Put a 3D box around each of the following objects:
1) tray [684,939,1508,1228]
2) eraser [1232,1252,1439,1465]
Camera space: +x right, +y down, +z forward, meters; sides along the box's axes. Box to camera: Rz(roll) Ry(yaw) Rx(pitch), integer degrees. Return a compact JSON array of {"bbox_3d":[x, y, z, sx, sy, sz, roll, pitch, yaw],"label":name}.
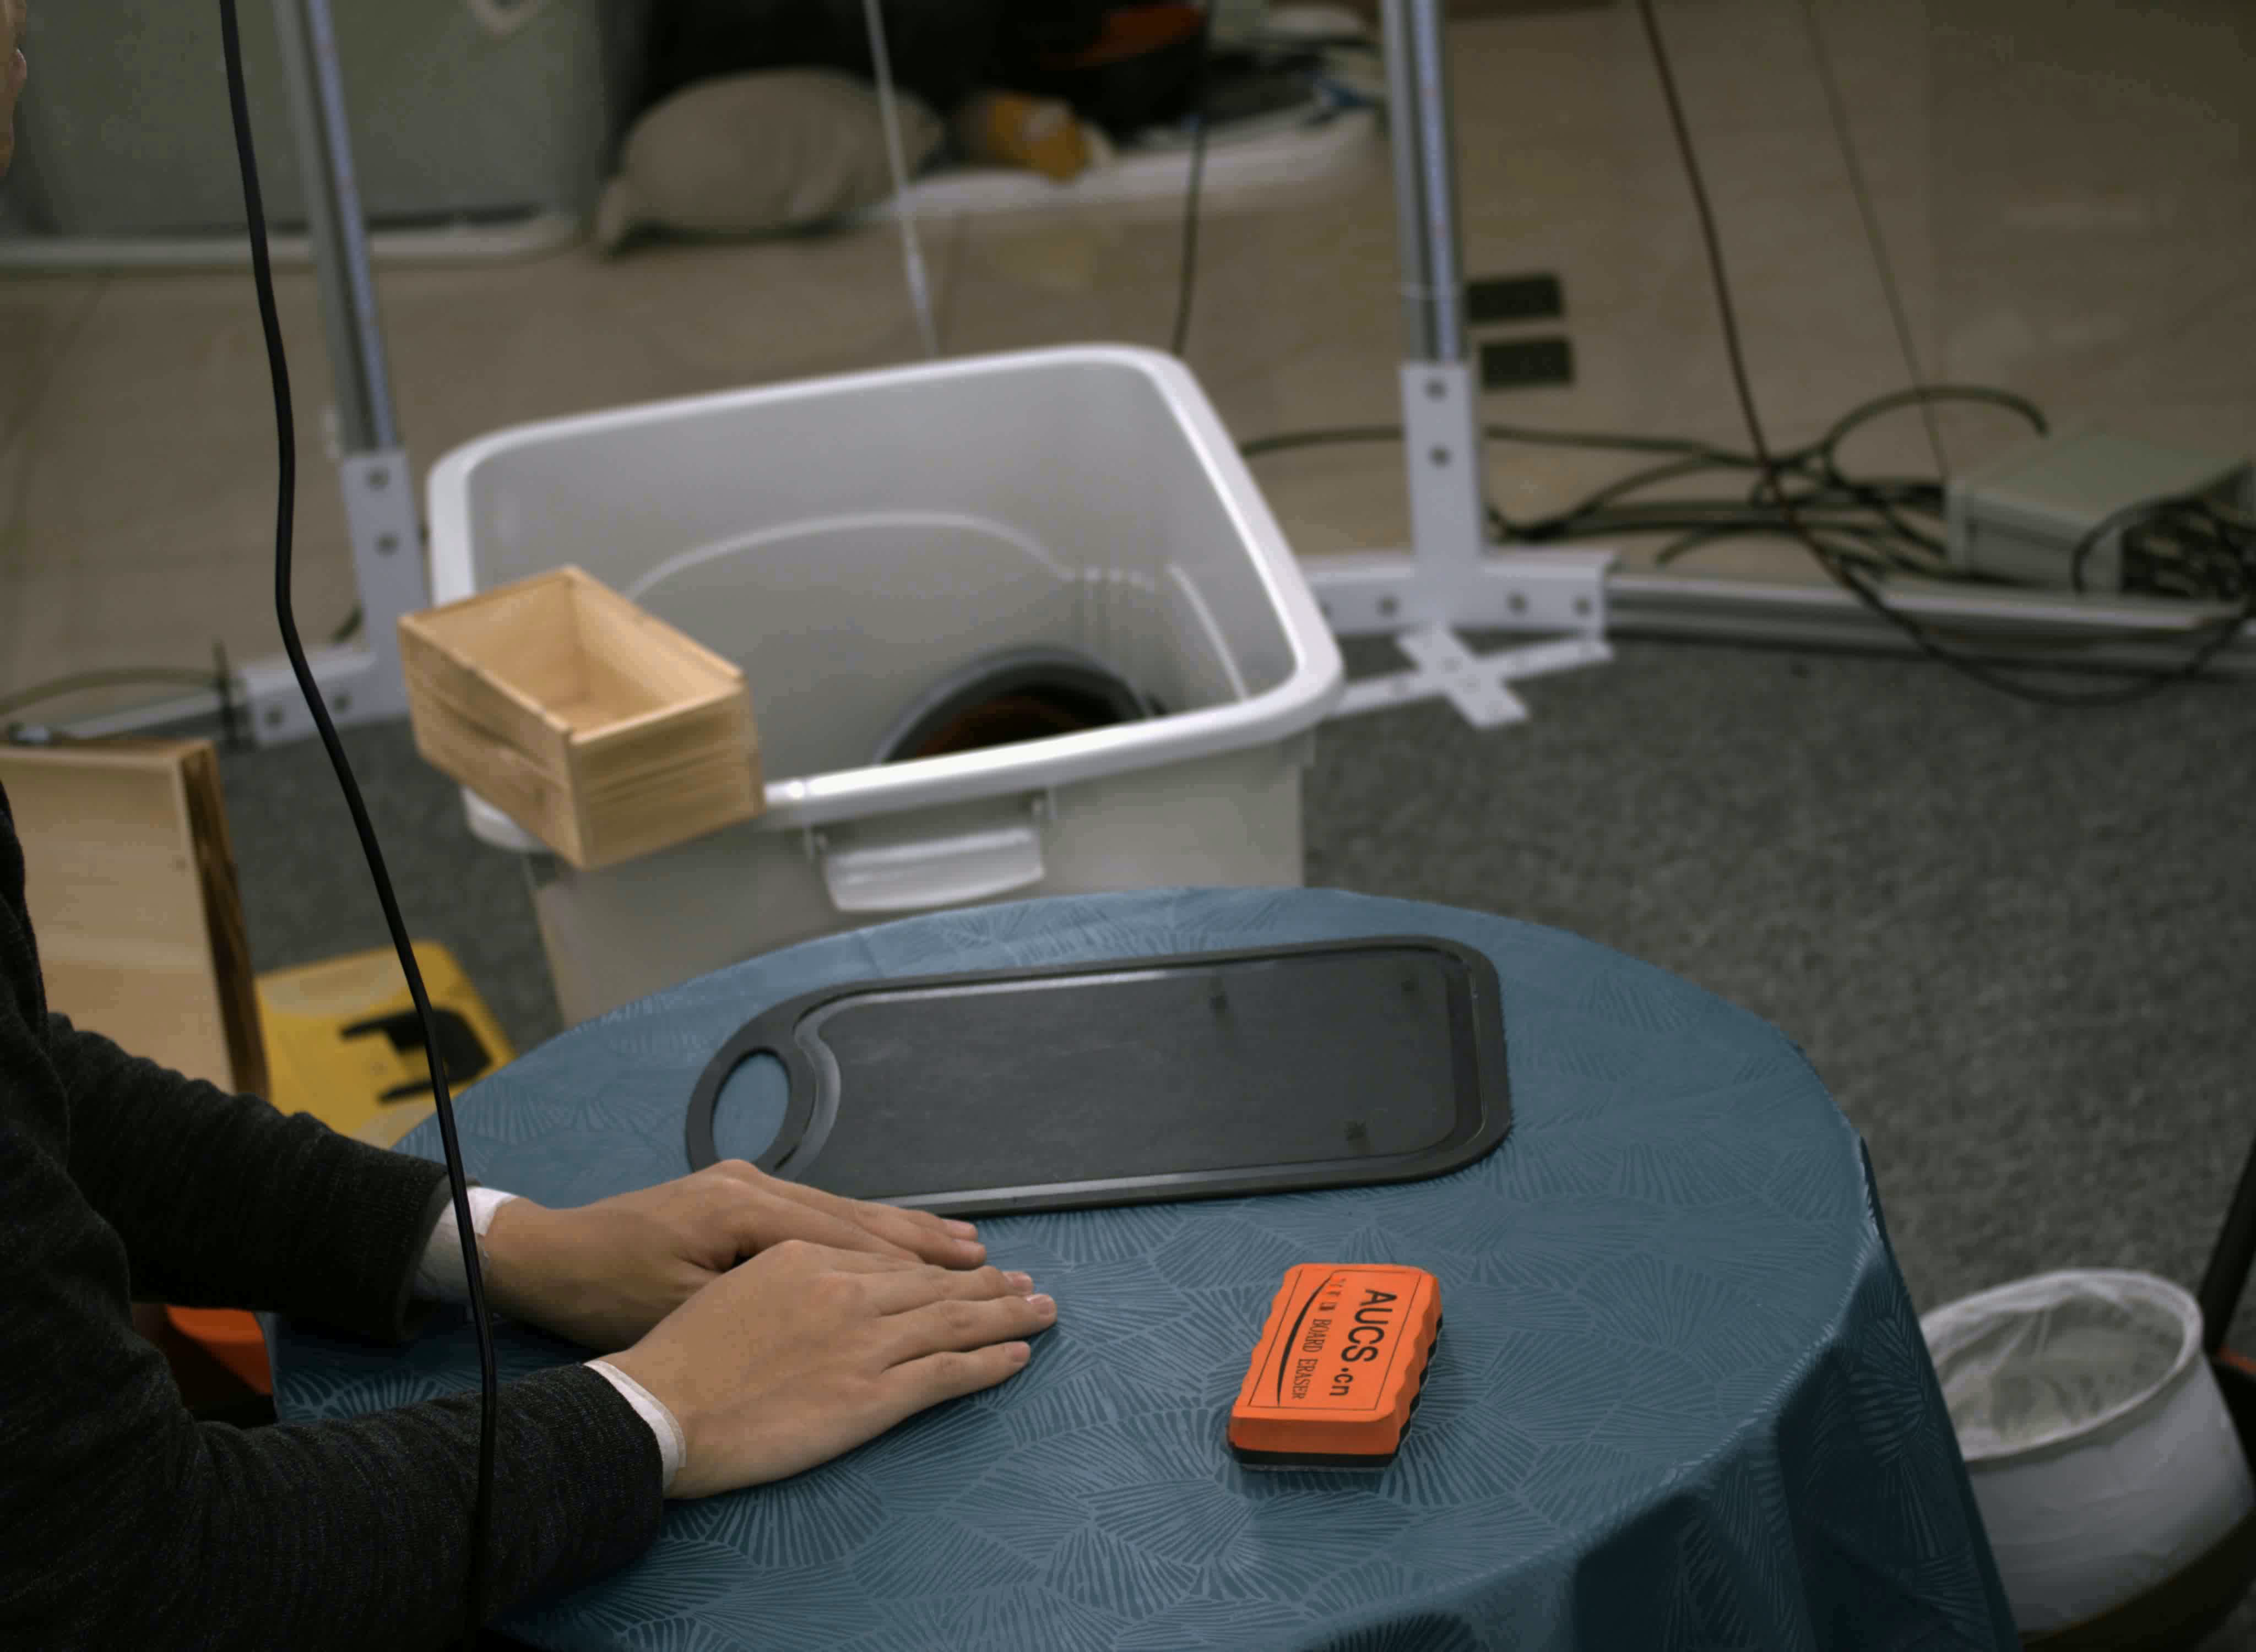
[{"bbox_3d":[-0.014,0.099,2.230,0.325,0.010,0.208,-5,25,4],"label":"tray"},{"bbox_3d":[0.073,0.186,1.992,0.059,0.023,0.106,-1,27,15],"label":"eraser"}]
